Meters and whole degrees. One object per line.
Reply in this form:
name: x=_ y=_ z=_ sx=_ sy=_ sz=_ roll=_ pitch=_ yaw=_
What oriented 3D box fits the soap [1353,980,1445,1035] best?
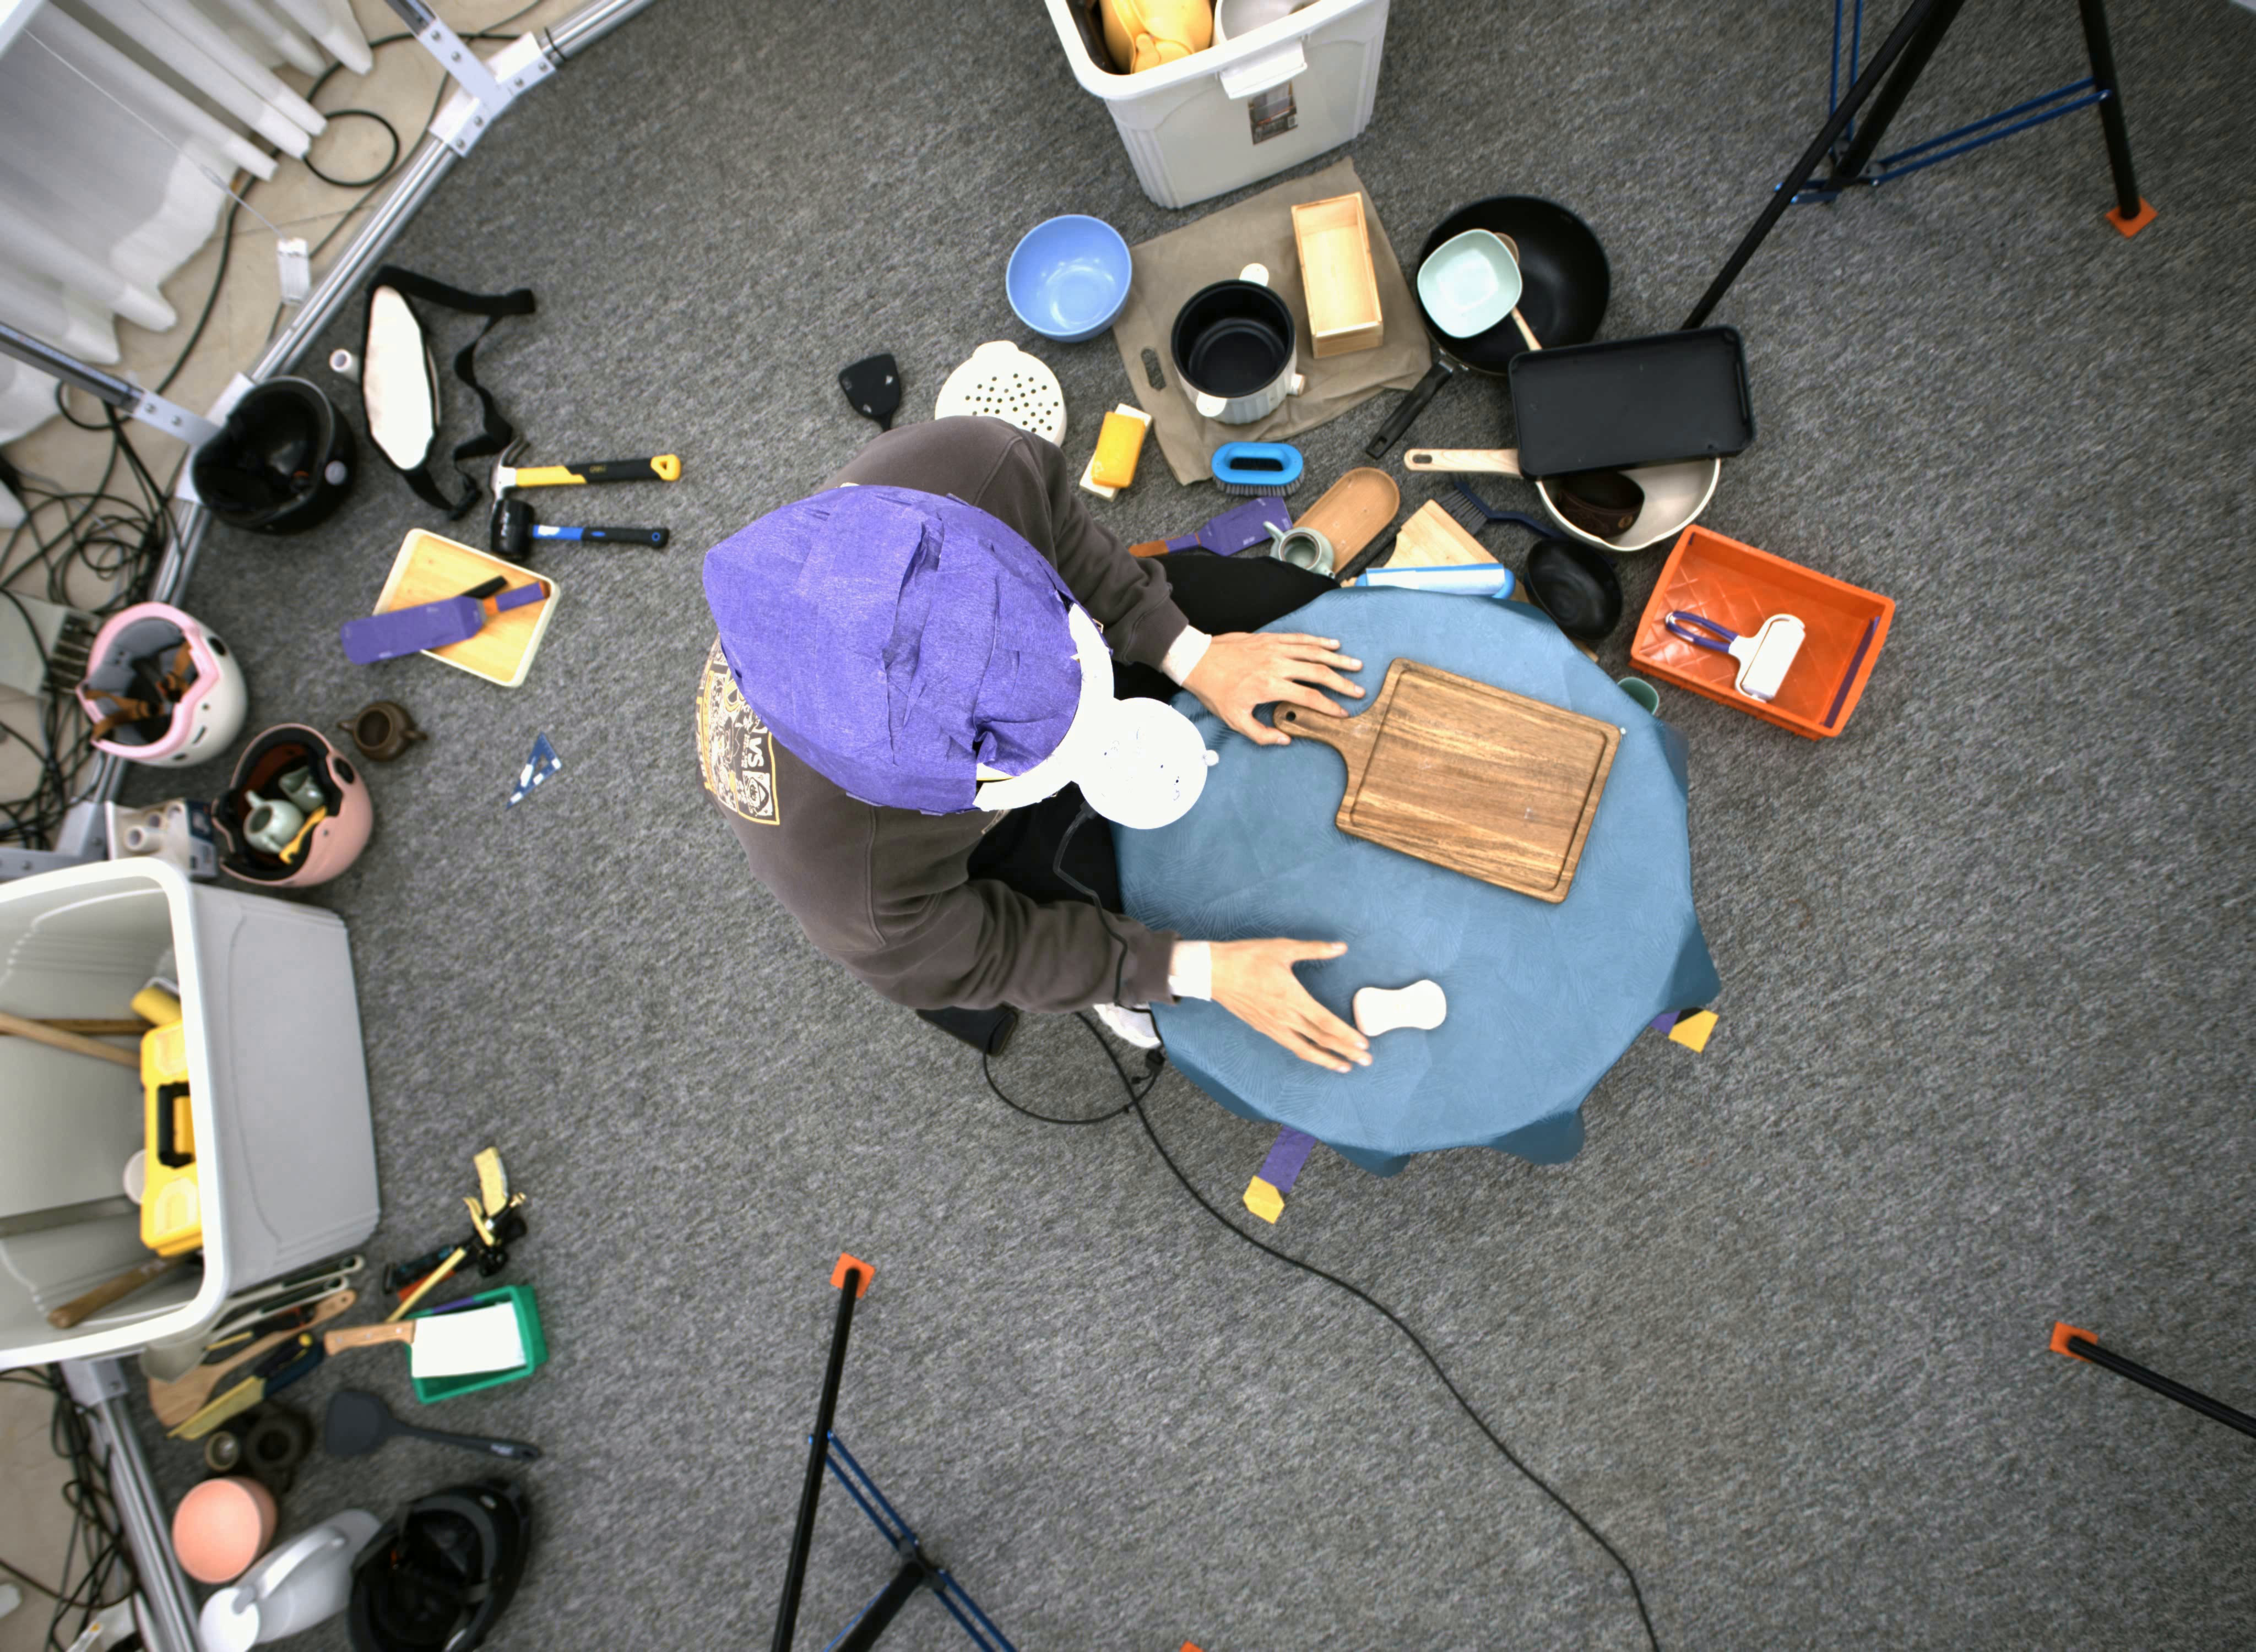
soap: x=0.281 y=0.187 z=1.436 sx=0.095 sy=0.030 sz=0.050 roll=-8 pitch=84 yaw=11

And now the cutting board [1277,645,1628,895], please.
cutting board: x=0.325 y=-0.079 z=1.444 sx=0.352 sy=0.023 sz=0.201 roll=20 pitch=91 yaw=11
